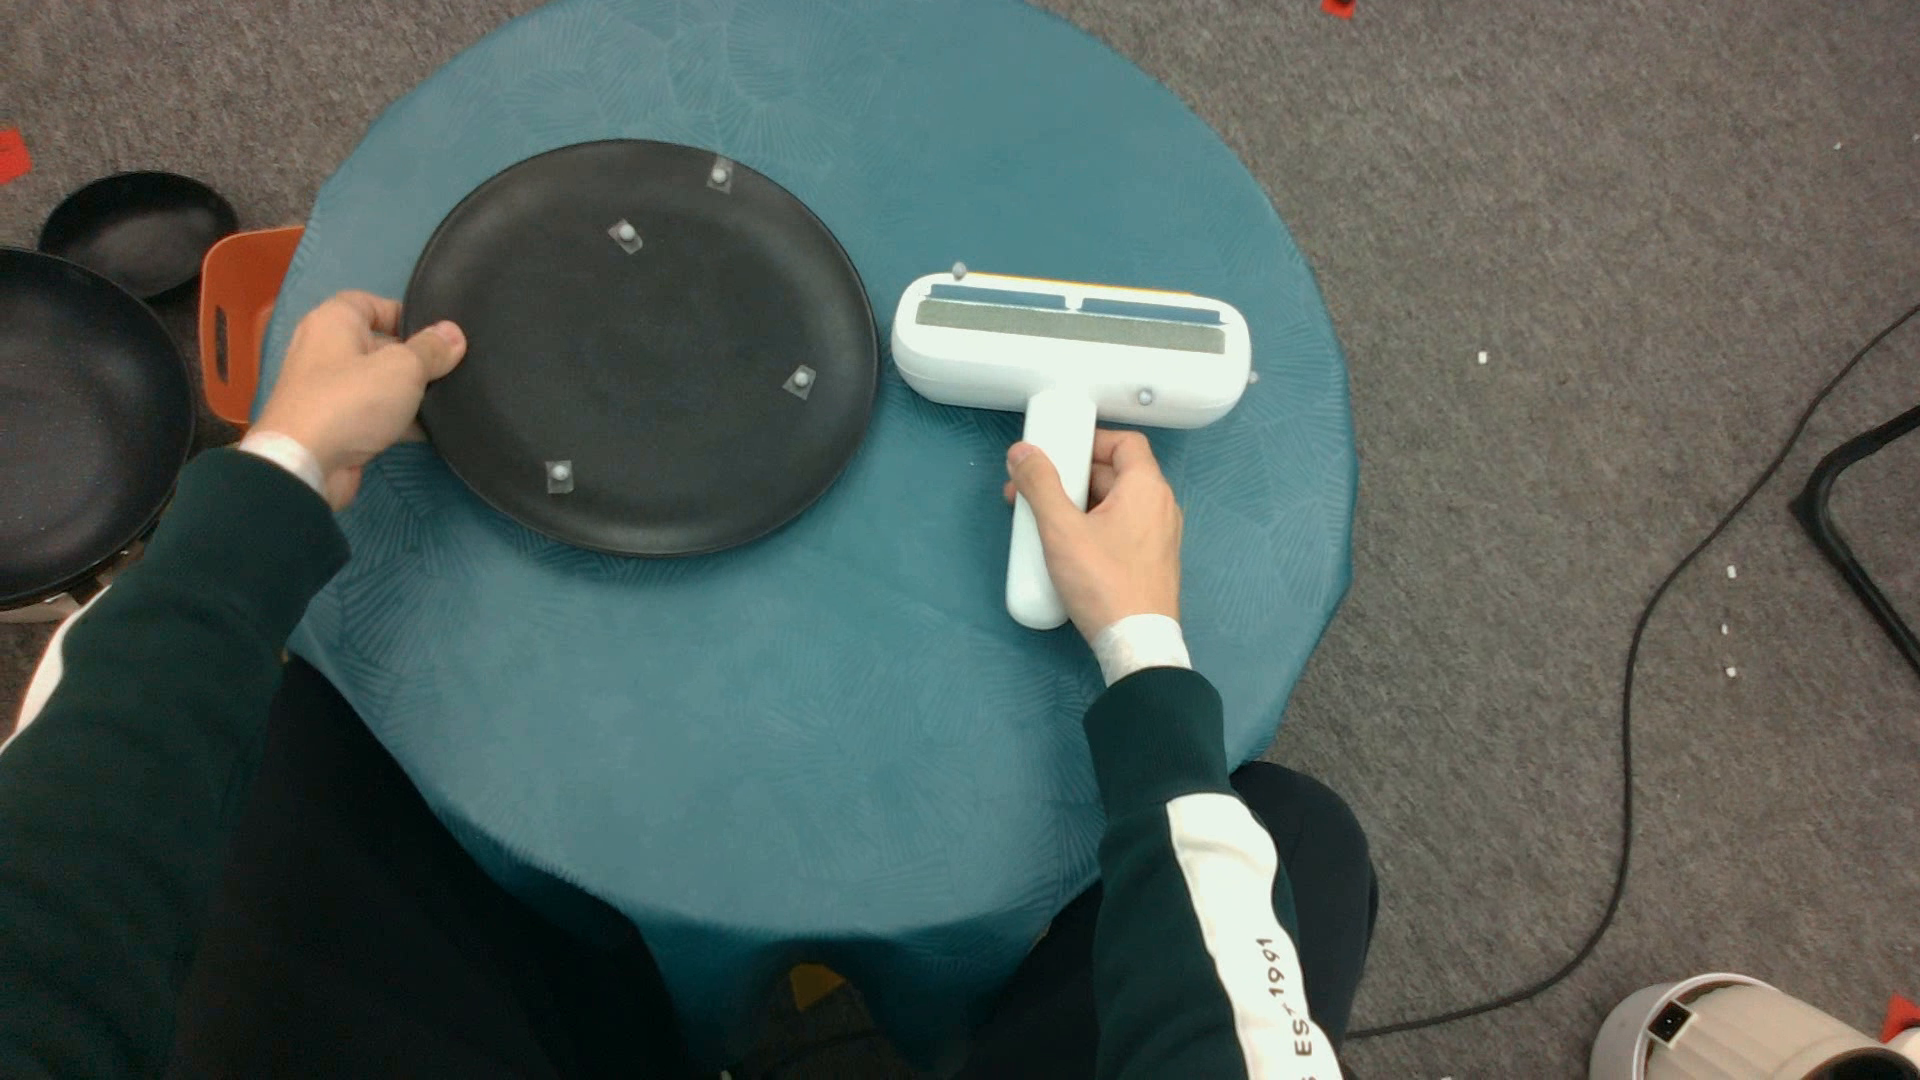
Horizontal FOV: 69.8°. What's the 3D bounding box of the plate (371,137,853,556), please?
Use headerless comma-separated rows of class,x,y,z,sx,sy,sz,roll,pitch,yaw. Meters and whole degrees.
plate,-0.178,-0.103,0.726,0.244,0.023,0.245,5,69,-14

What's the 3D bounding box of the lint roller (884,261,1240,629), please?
lint roller,0.043,-0.049,0.744,0.193,0.074,0.193,11,78,4
